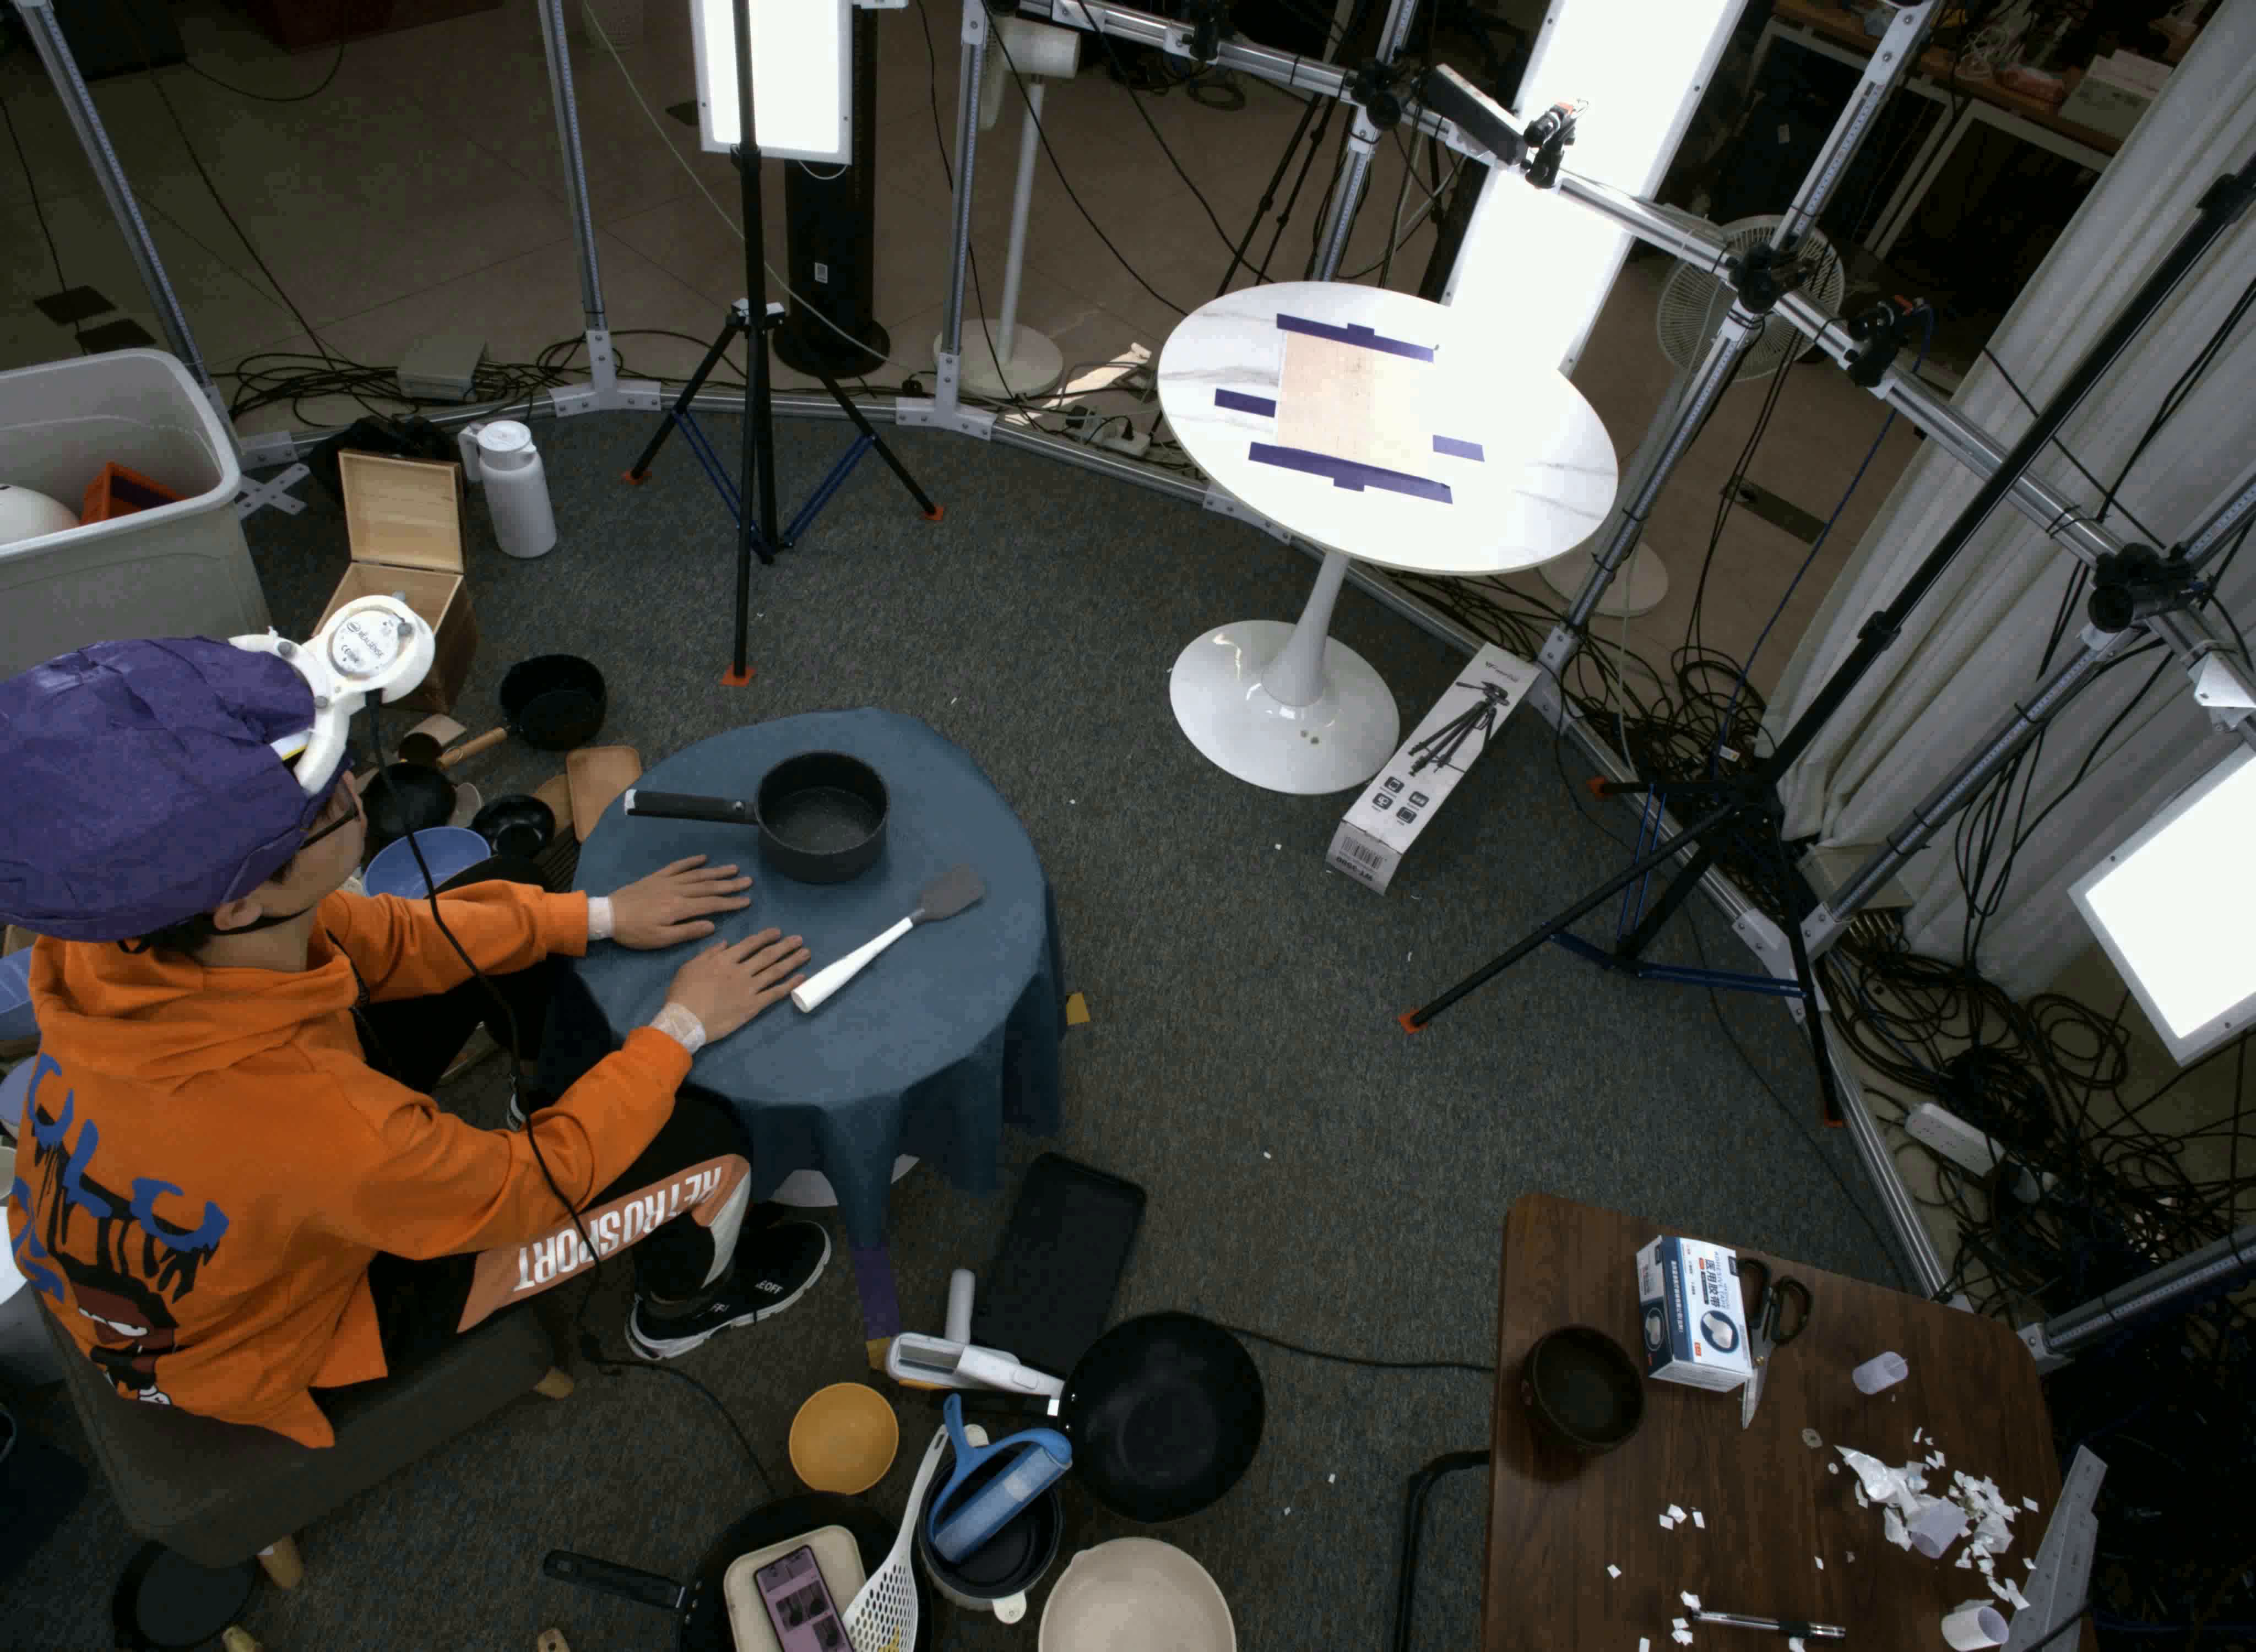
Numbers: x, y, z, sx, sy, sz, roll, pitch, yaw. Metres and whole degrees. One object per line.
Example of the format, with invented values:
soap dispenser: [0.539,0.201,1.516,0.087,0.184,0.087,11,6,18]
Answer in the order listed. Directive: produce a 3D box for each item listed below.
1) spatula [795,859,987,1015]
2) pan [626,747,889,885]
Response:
spatula: [-0.295,0.136,1.626,0.288,0.032,0.059,-38,93,-33]
pan: [-0.474,-0.015,1.657,0.330,0.088,0.168,2,52,-15]
